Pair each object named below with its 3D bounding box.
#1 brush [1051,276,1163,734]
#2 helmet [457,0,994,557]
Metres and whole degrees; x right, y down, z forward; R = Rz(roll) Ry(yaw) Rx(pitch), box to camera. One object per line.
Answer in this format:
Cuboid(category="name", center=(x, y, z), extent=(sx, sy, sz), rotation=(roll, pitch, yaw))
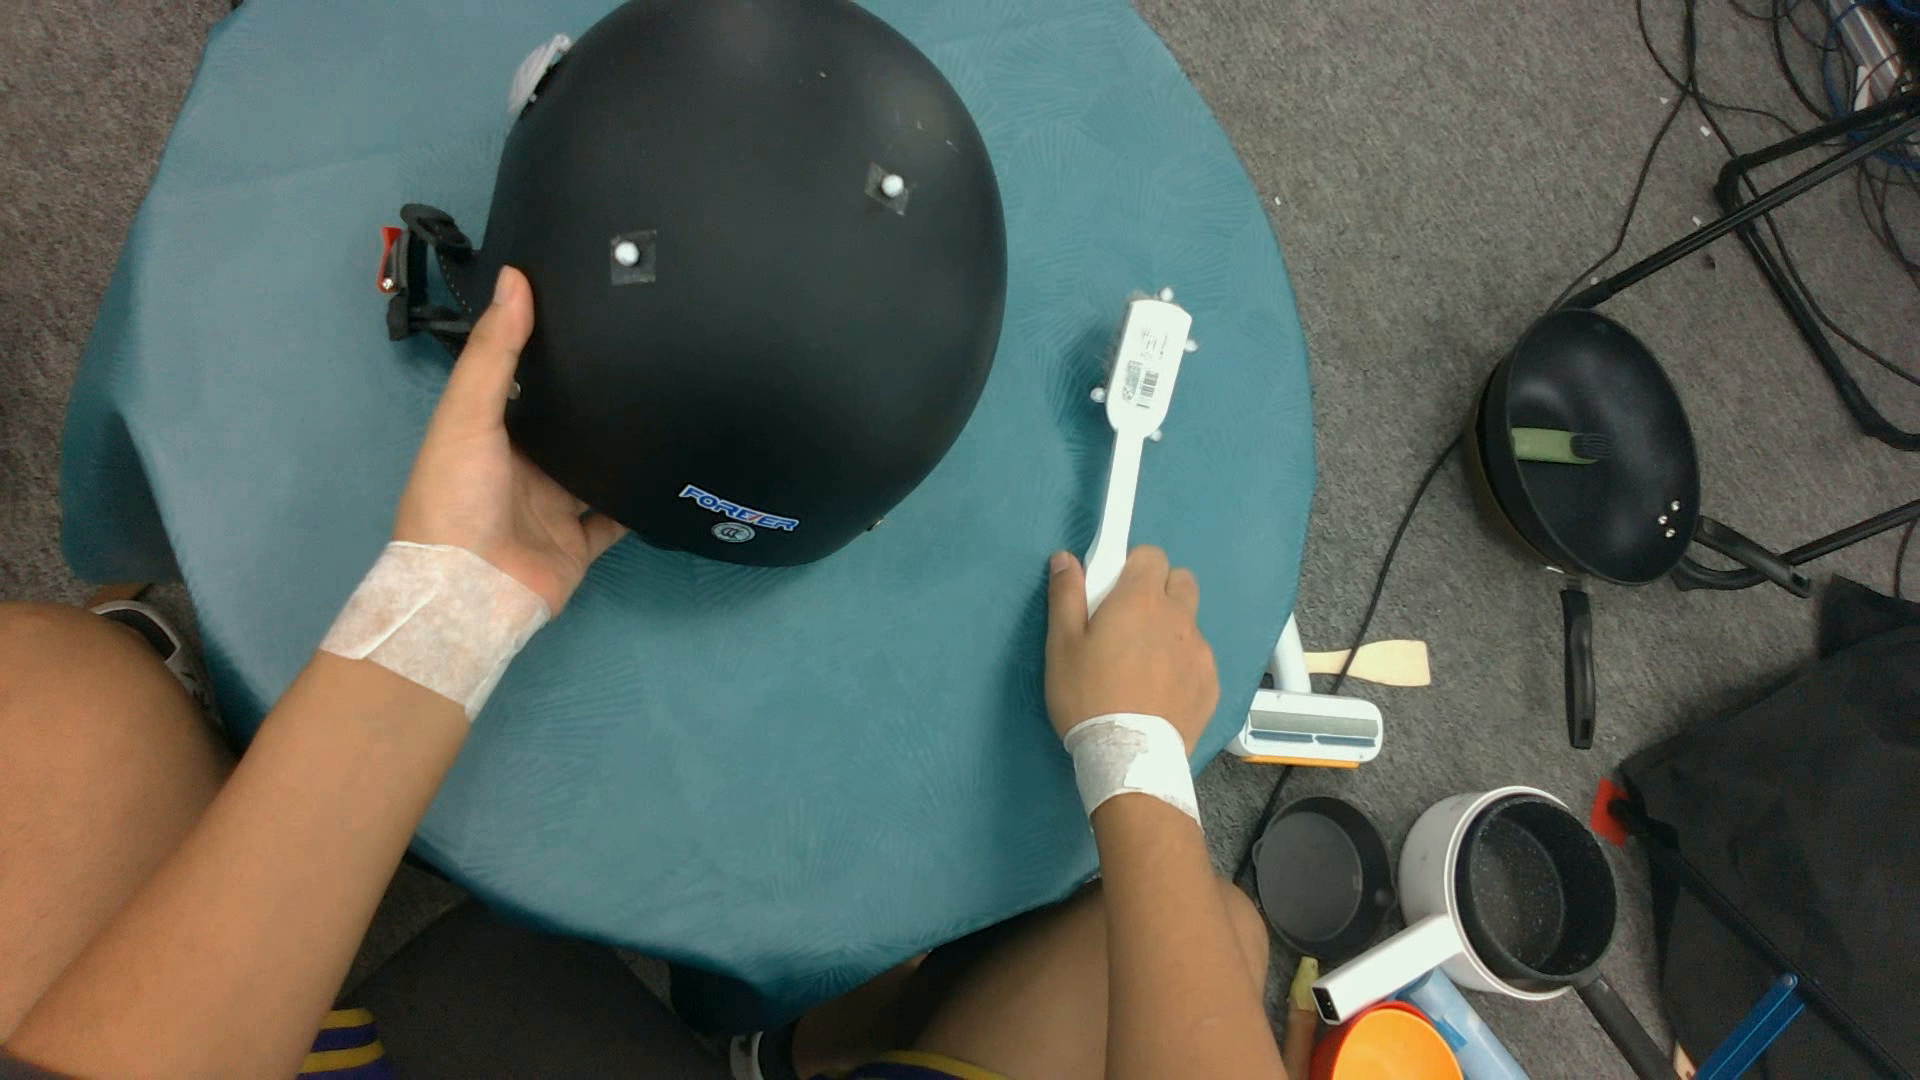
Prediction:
Cuboid(category="brush", center=(0.072, -0.021, 0.725), extent=(0.034, 0.050, 0.244), rotation=(9, 86, -5))
Cuboid(category="helmet", center=(-0.080, -0.135, 0.593), extent=(0.230, 0.166, 0.274), rotation=(24, 62, -33))
